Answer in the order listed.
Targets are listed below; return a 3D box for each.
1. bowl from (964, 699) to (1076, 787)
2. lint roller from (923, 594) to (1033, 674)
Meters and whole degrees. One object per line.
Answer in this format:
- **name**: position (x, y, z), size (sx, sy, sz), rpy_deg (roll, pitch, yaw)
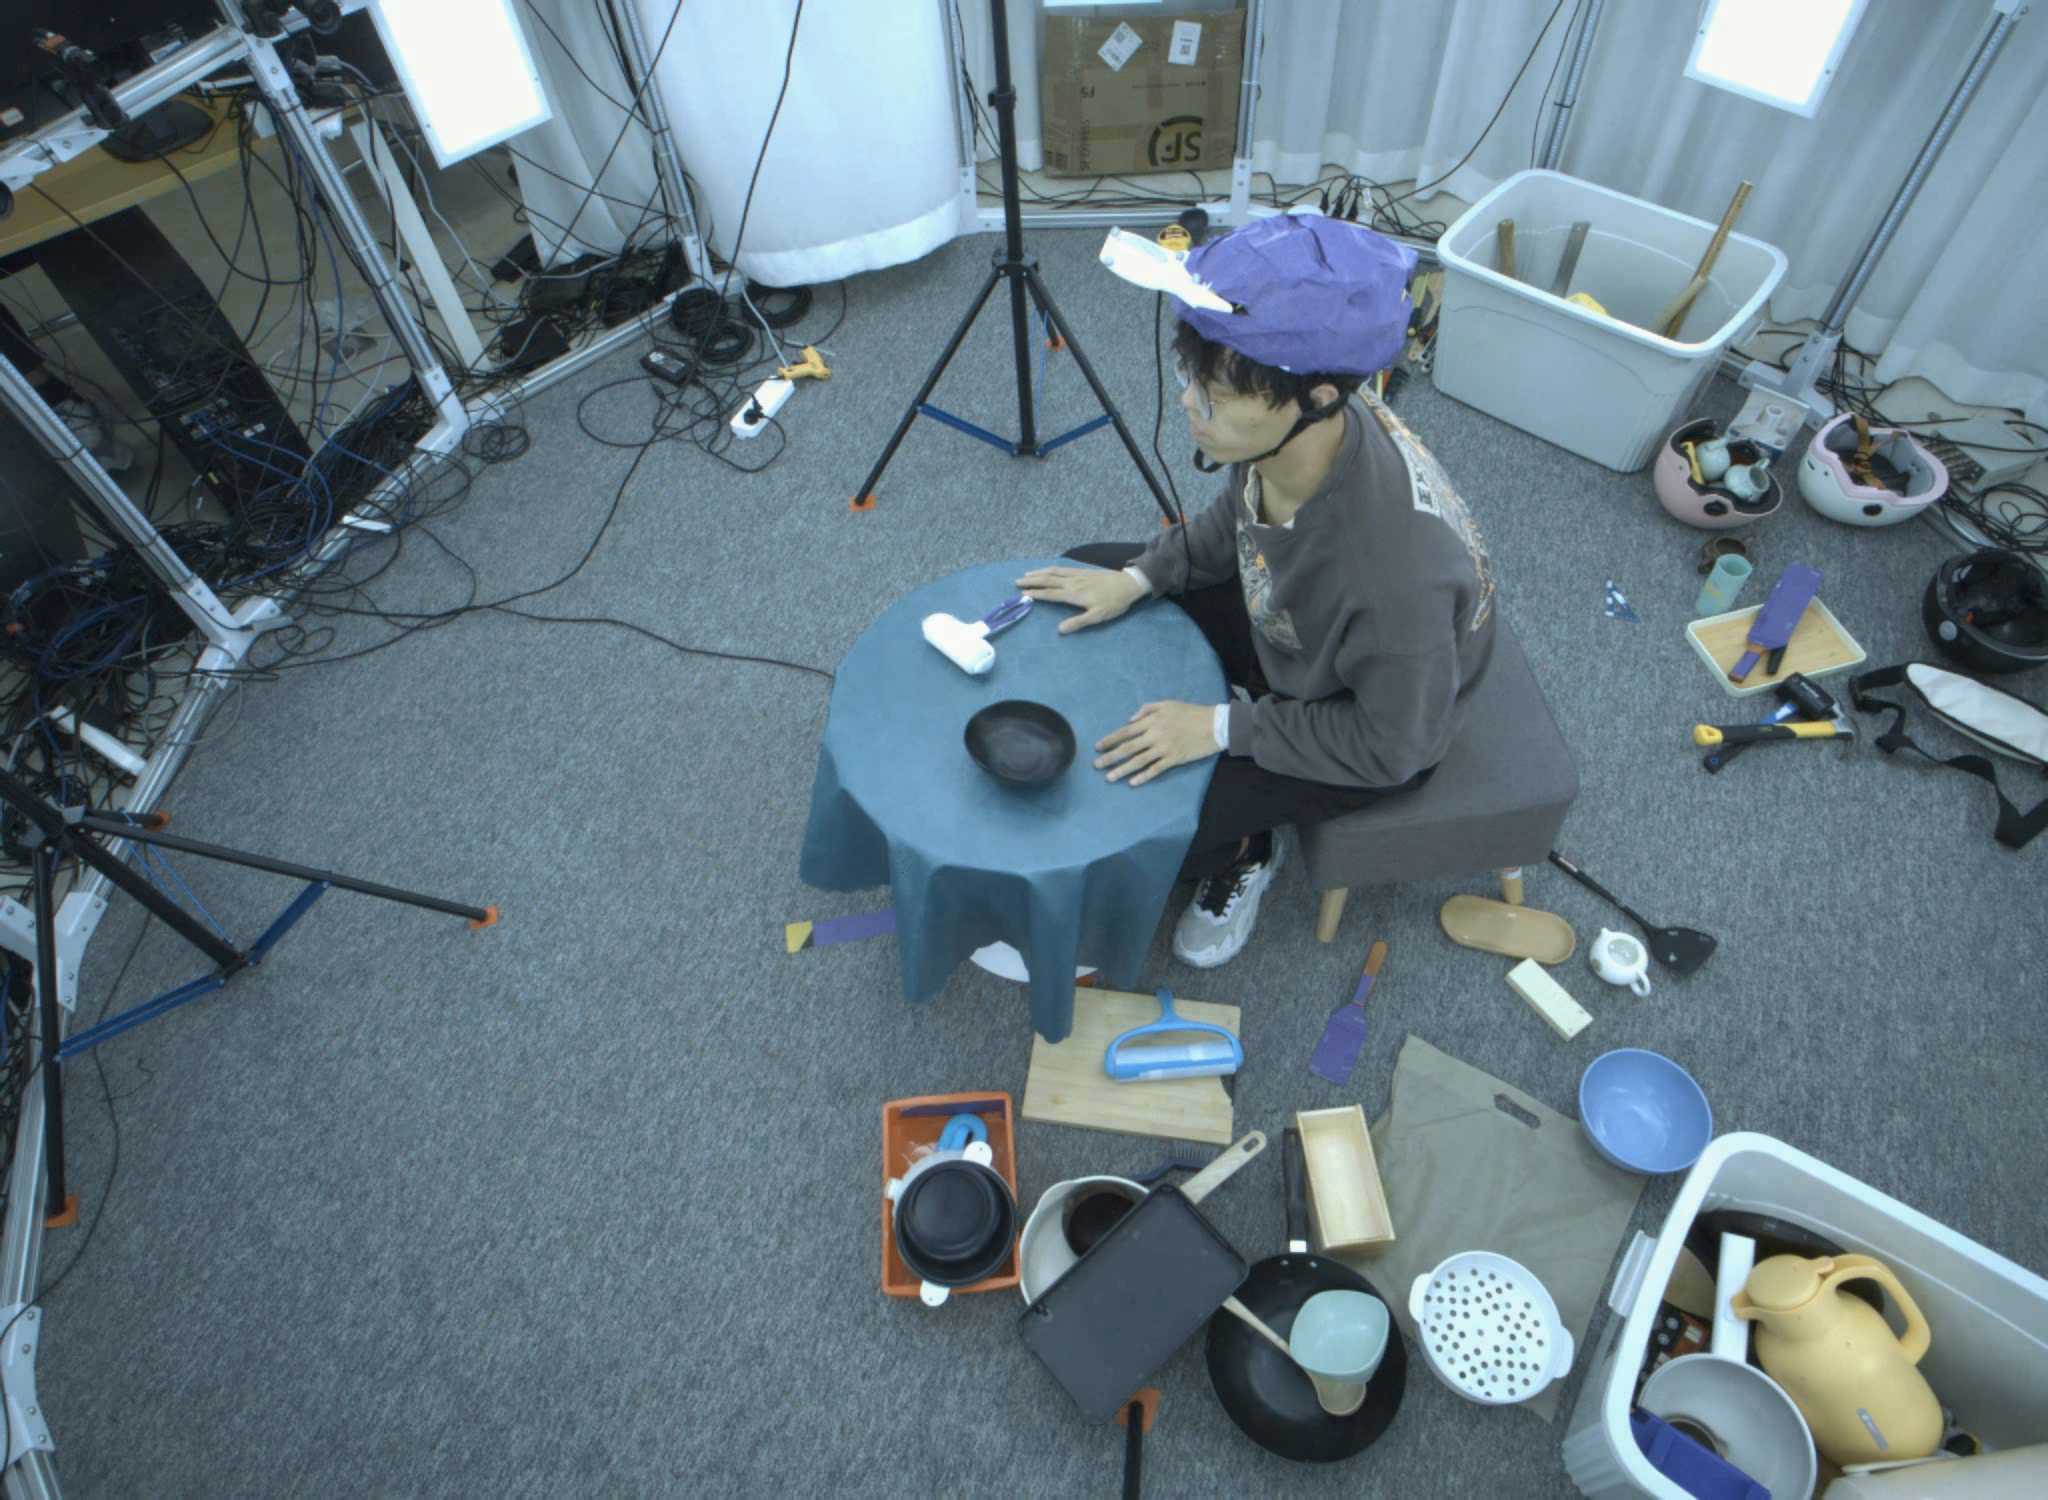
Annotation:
- **bowl**: position (-0.006, 0.001, 1.746), size (0.168, 0.067, 0.138), rpy_deg (24, 58, 20)
- **lint roller**: position (-0.055, -0.199, 1.900), size (0.182, 0.051, 0.130), rpy_deg (-38, 61, -20)
